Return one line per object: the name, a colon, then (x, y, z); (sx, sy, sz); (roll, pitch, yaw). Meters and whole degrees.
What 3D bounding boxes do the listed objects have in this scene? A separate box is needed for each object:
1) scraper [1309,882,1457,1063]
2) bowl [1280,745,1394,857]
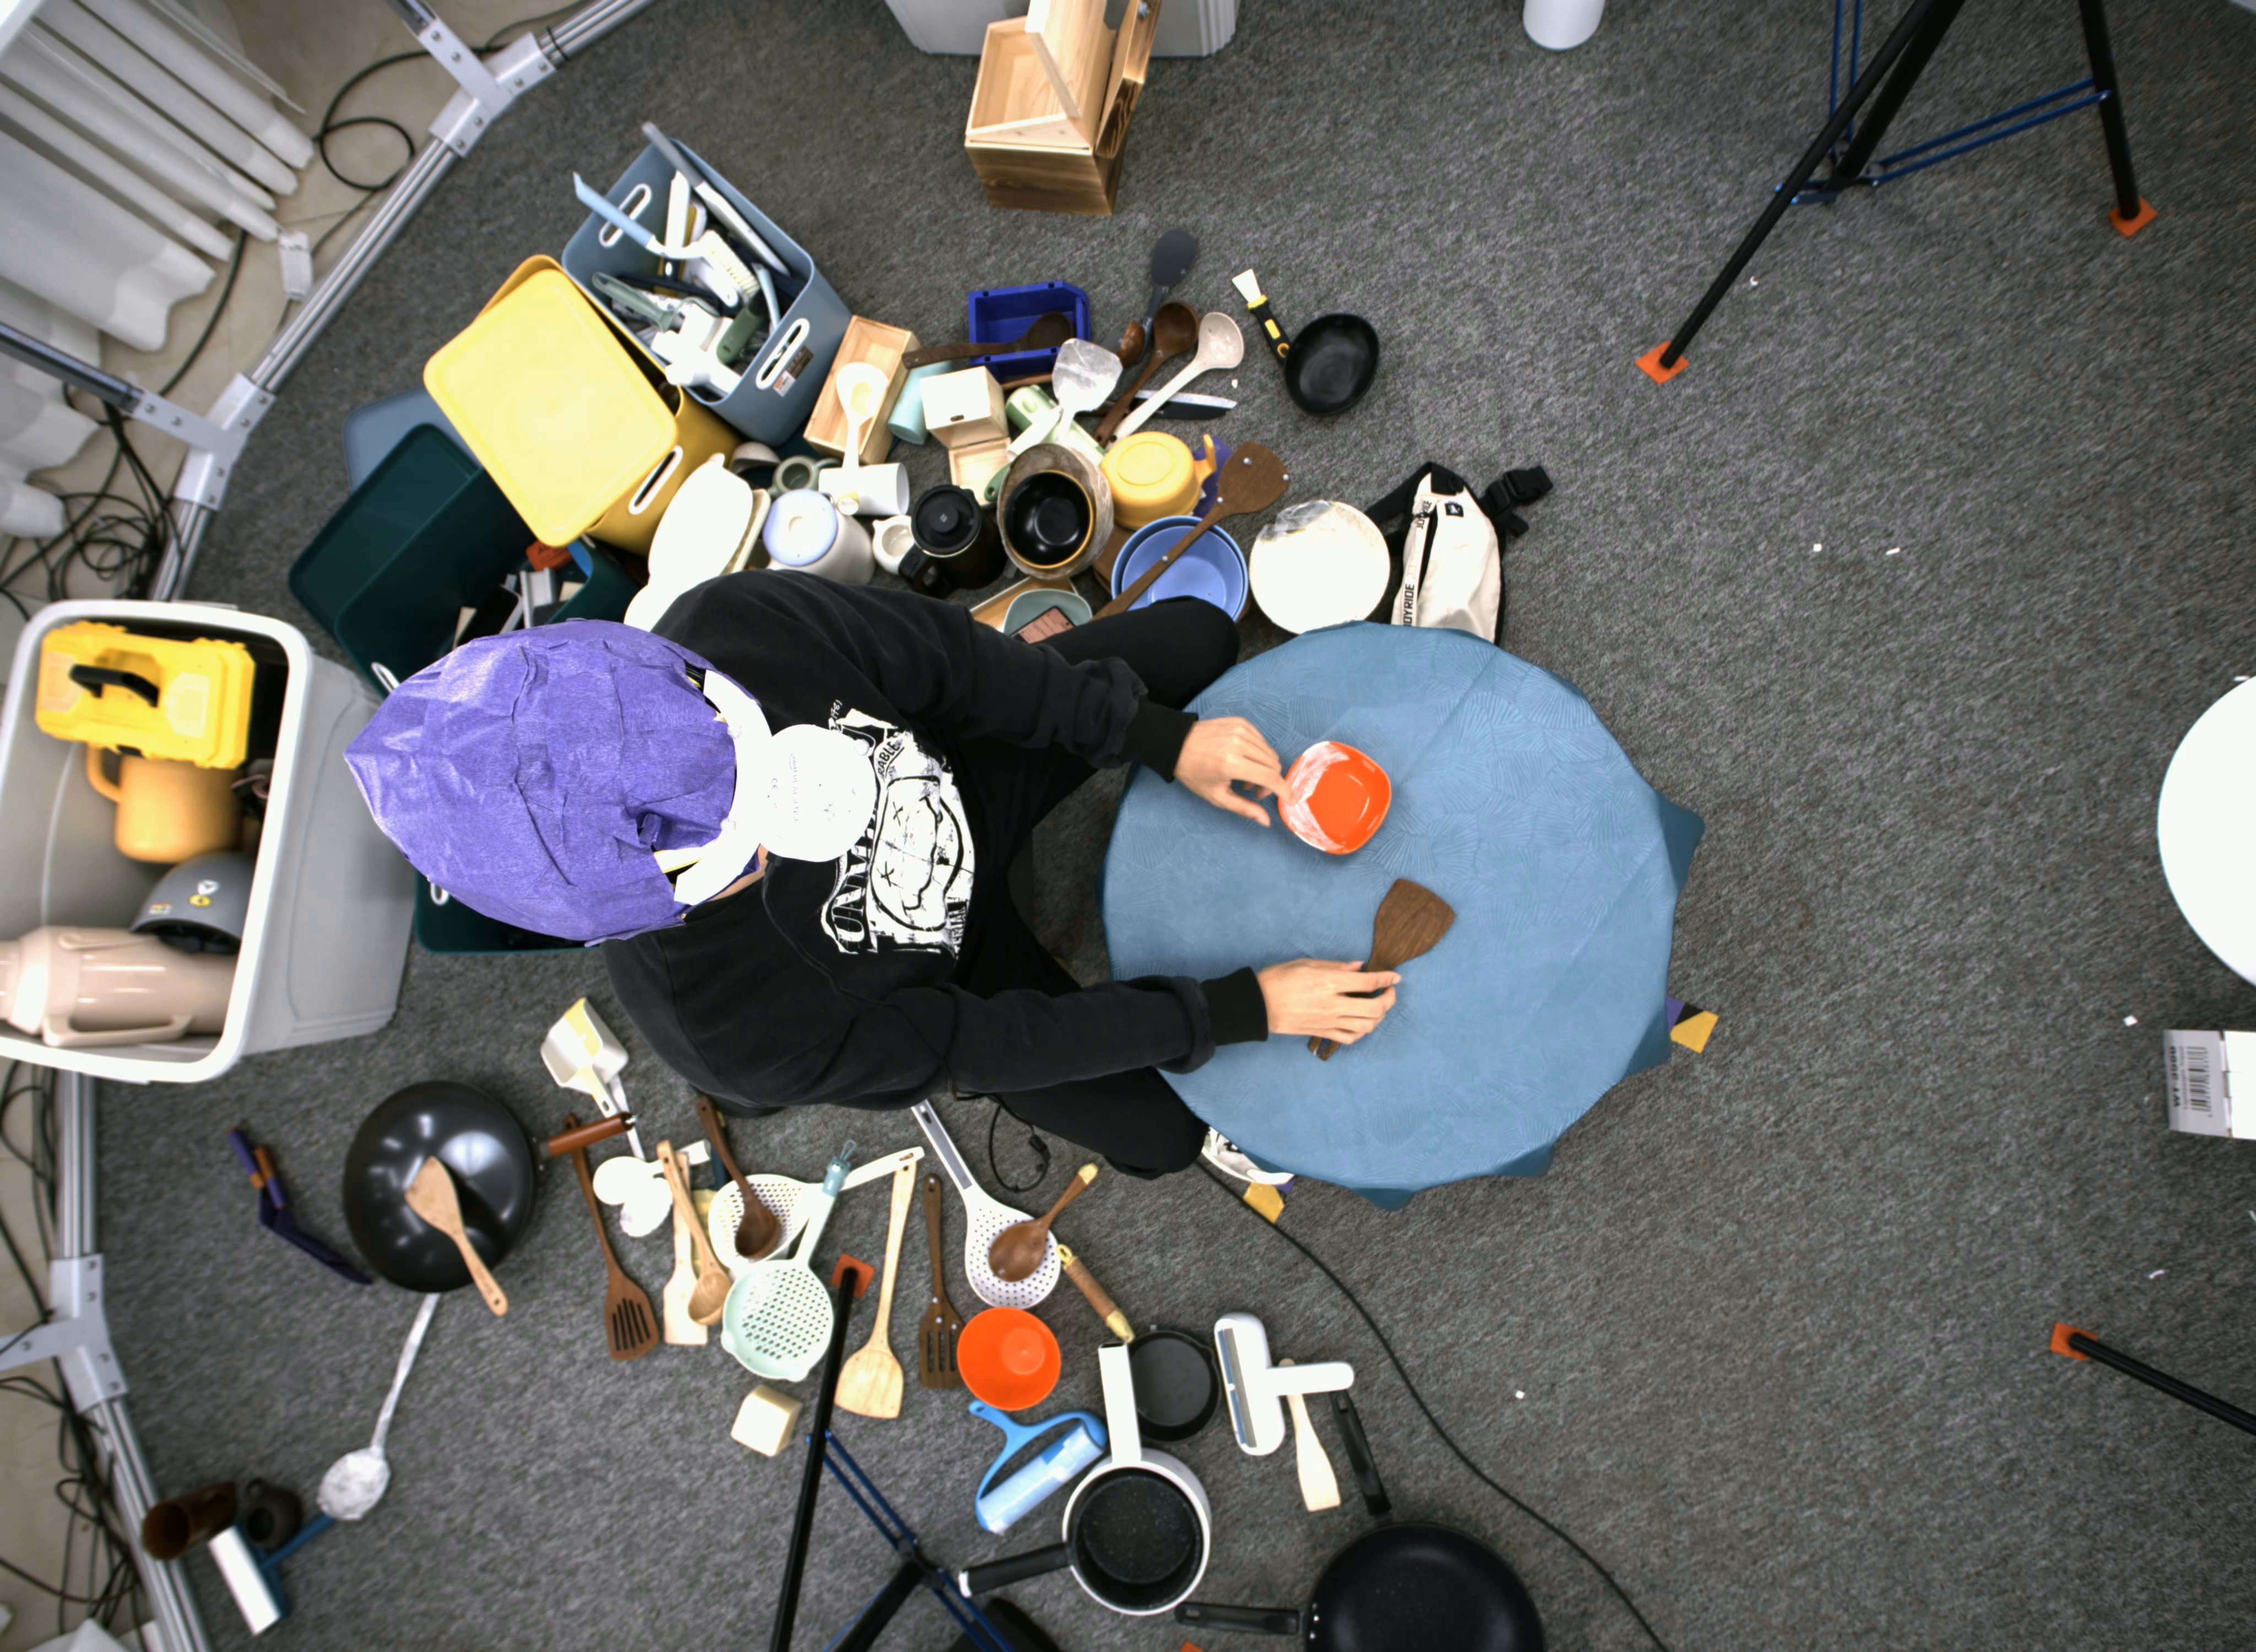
scraper: (0.260, 0.158, 1.457); (0.075, 0.011, 0.212); (36, 94, 12)
bowl: (0.220, -0.025, 1.456); (0.119, 0.051, 0.118); (-1, 87, 10)
